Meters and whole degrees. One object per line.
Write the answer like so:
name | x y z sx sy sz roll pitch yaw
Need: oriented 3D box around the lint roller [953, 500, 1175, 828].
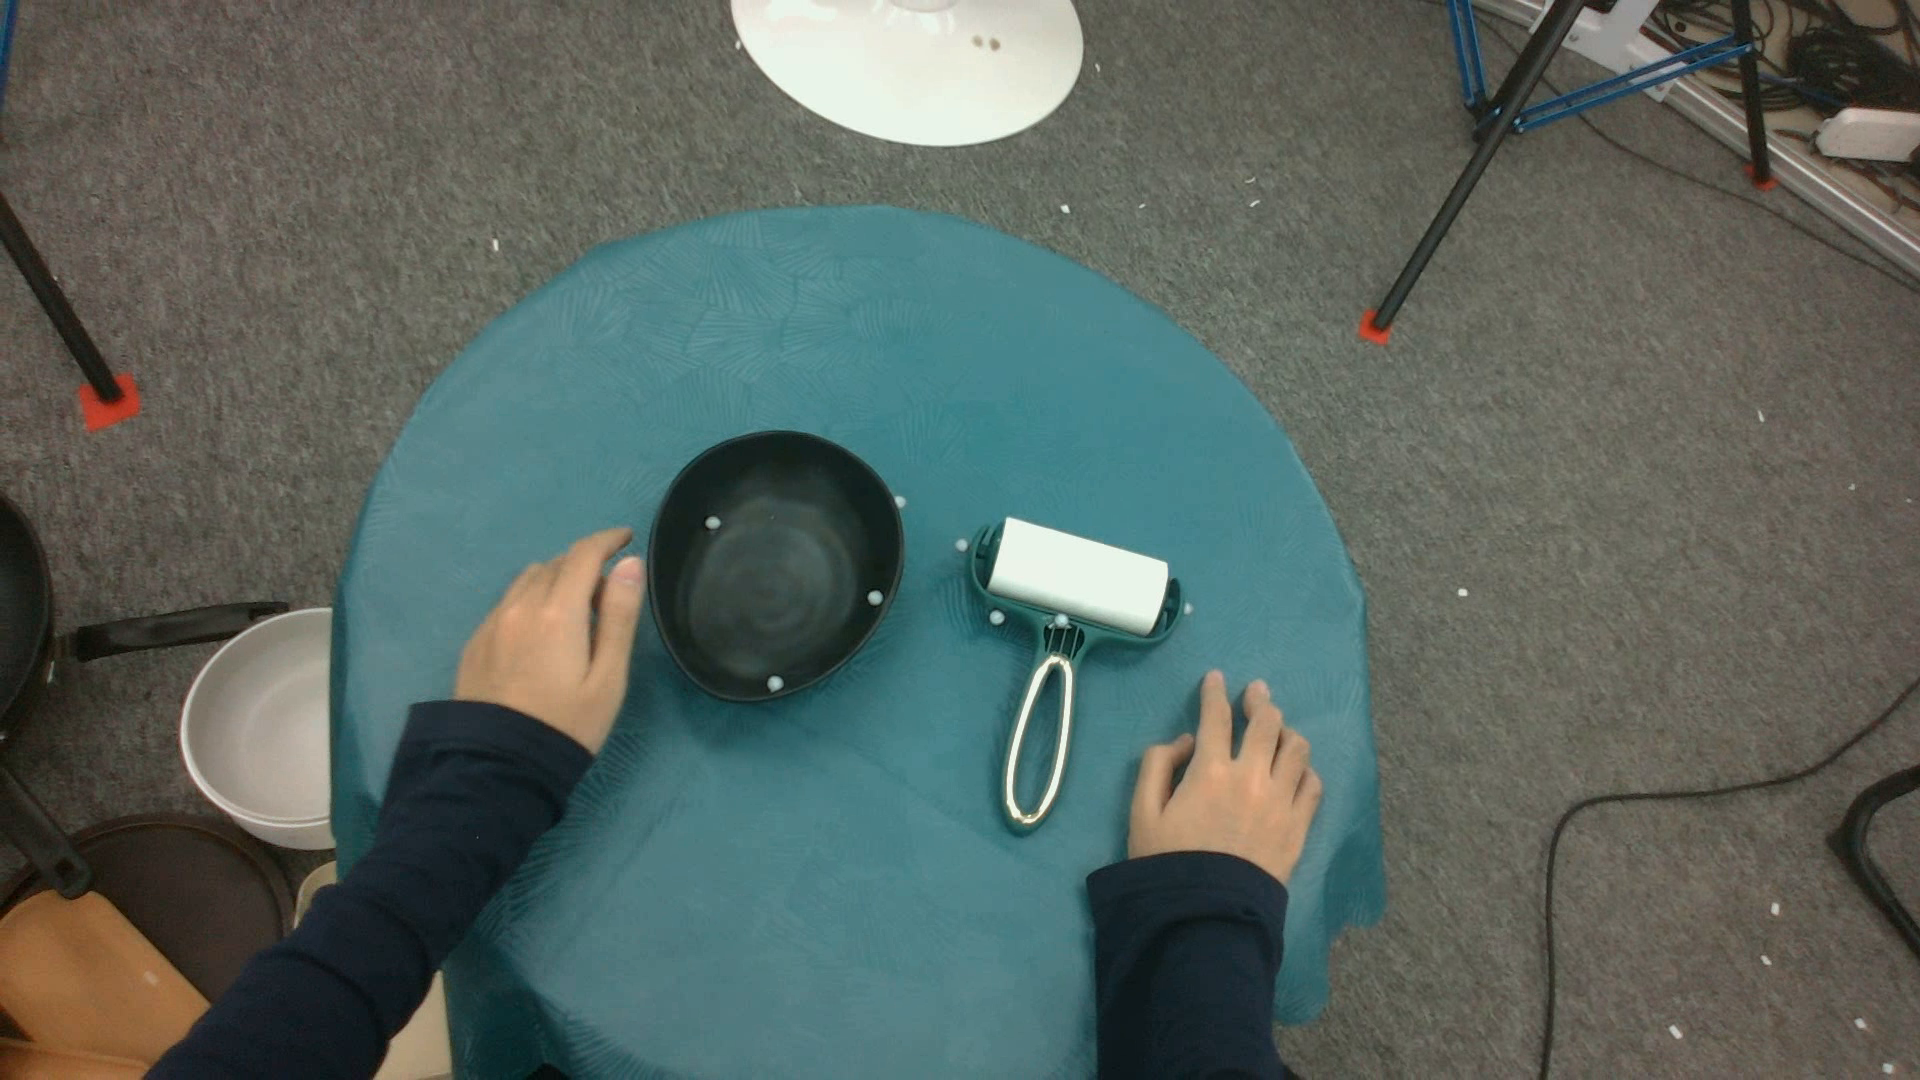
lint roller | 0.047 0.071 0.782 0.134 0.048 0.181 15 61 -3

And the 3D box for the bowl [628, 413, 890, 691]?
bowl | -0.112 0.013 0.766 0.137 0.066 0.171 15 59 -3
